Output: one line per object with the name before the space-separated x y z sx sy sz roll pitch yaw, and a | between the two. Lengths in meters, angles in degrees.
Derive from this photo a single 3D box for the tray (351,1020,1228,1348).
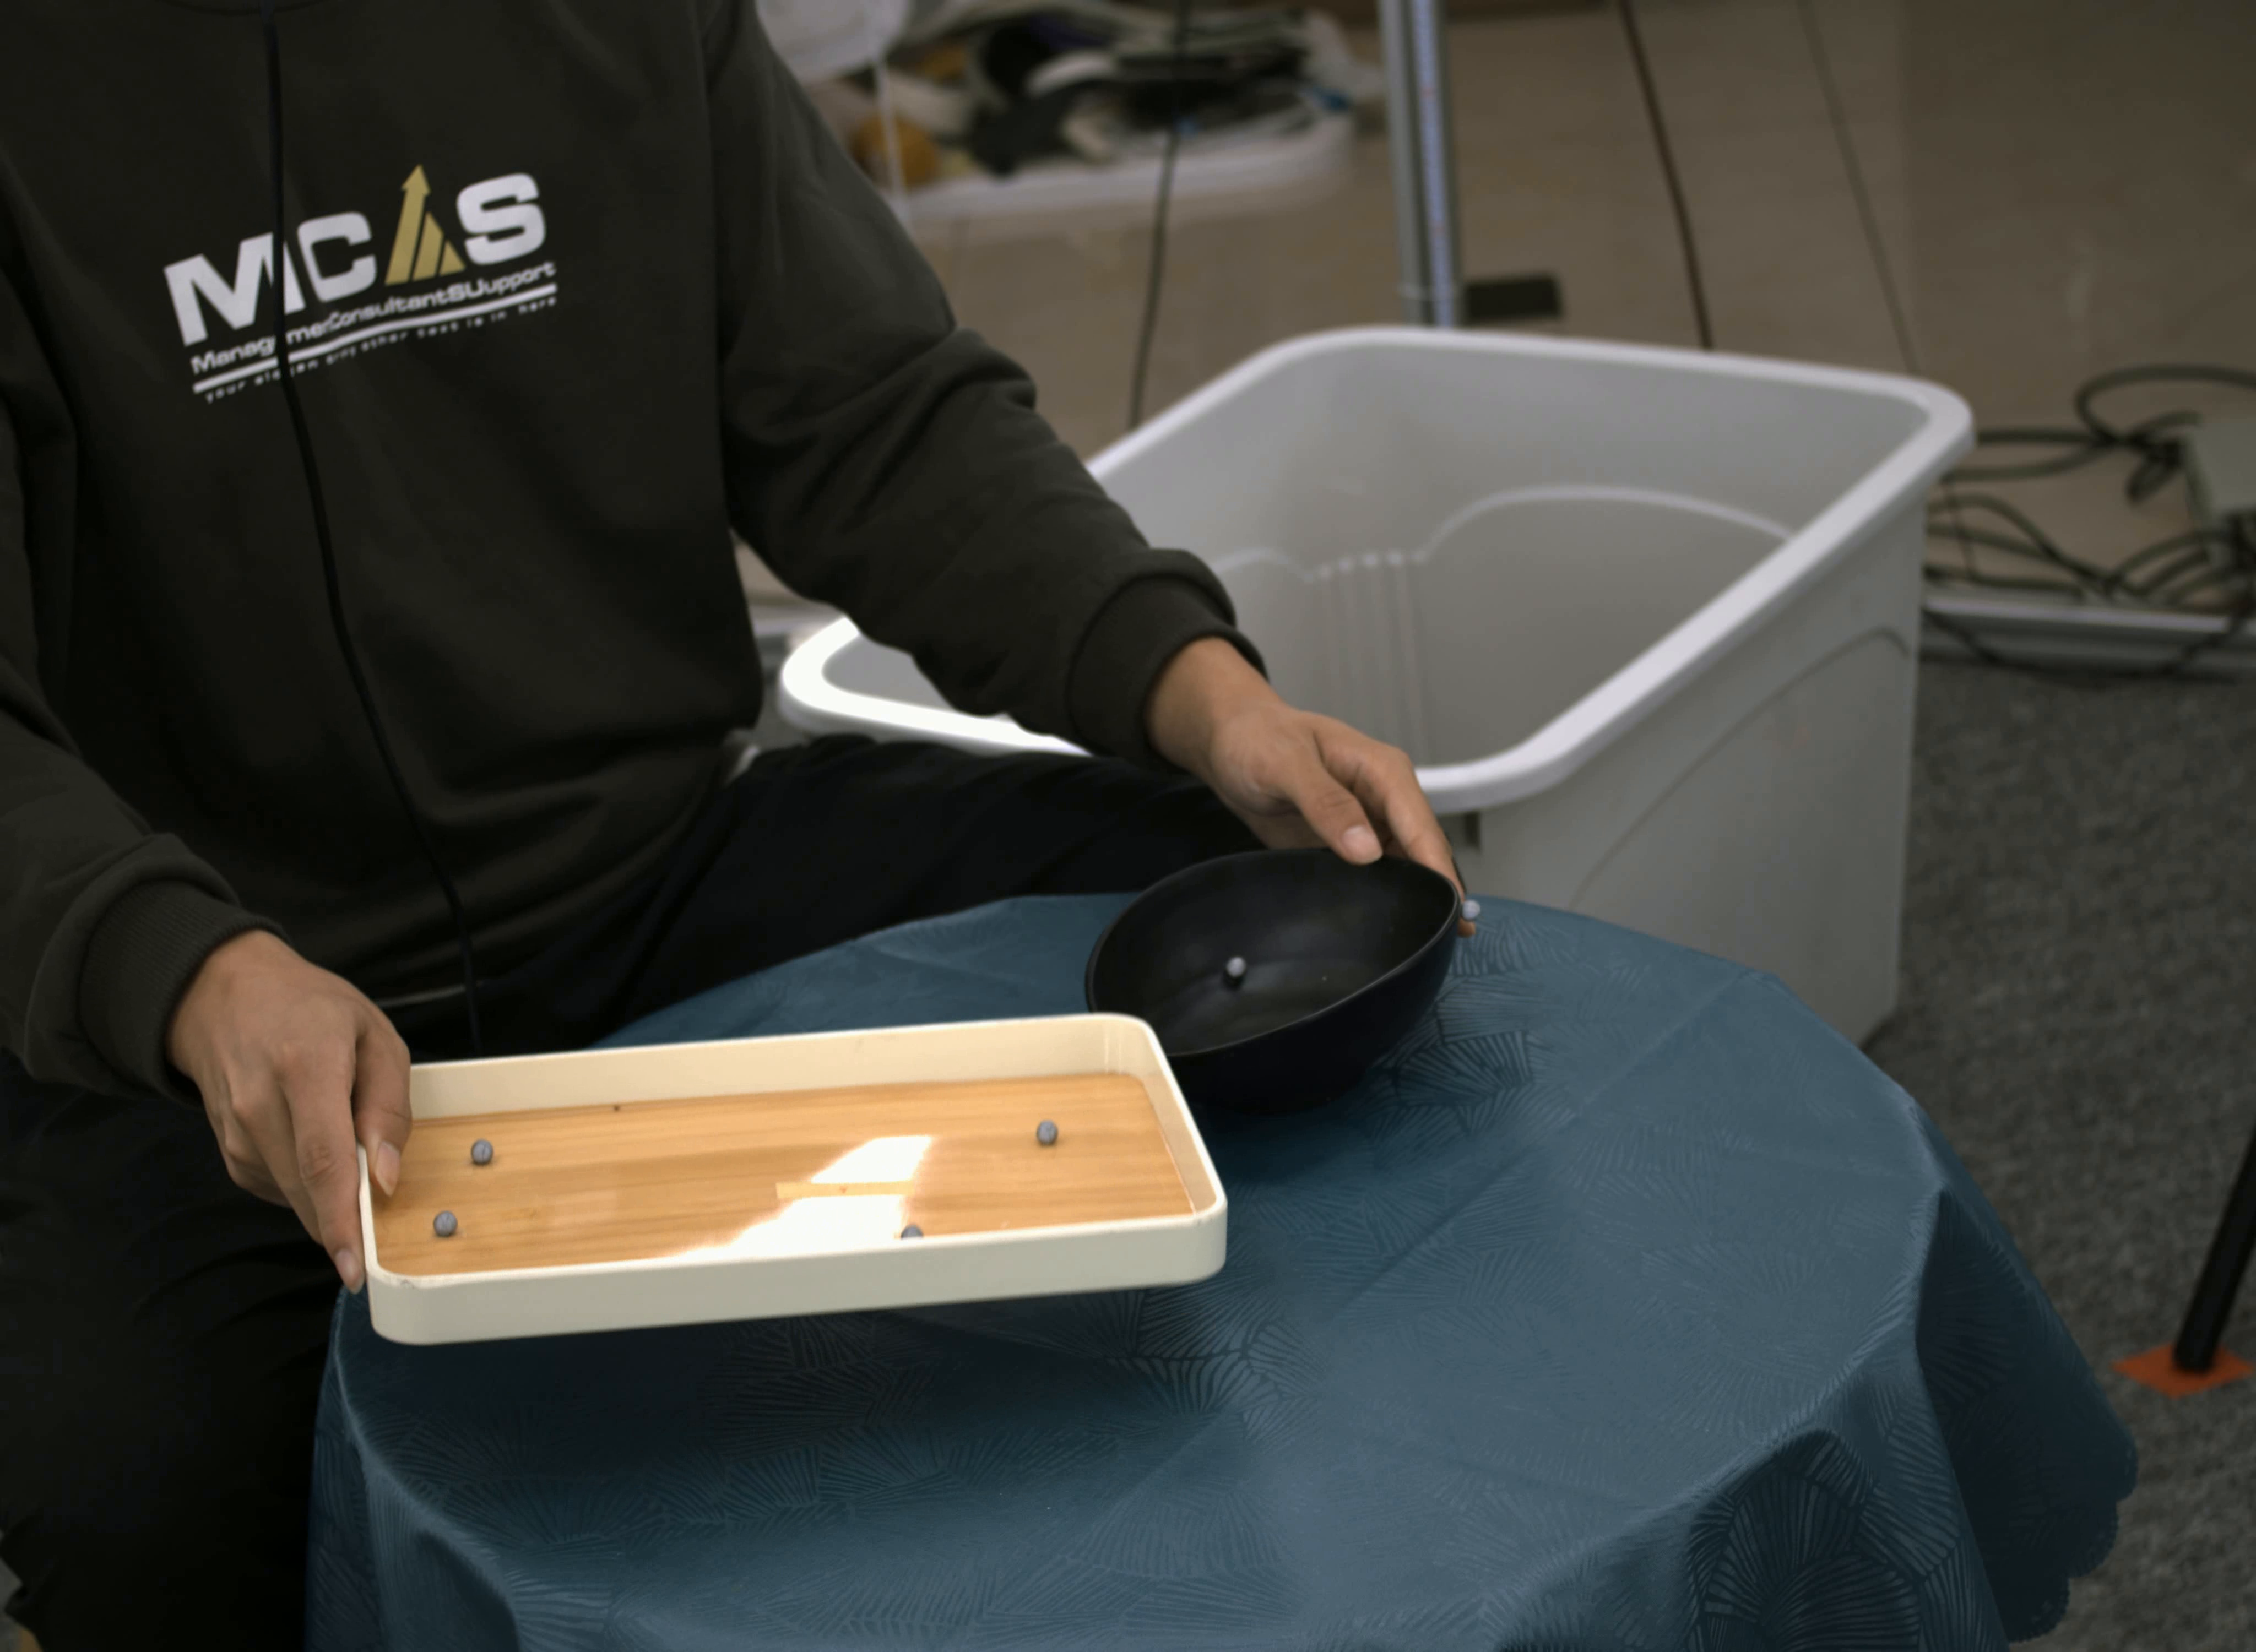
tray | -0.125 0.126 2.038 0.300 0.028 0.189 -3 22 -9

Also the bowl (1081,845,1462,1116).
bowl | 0.059 0.069 2.210 0.136 0.068 0.168 11 33 36
